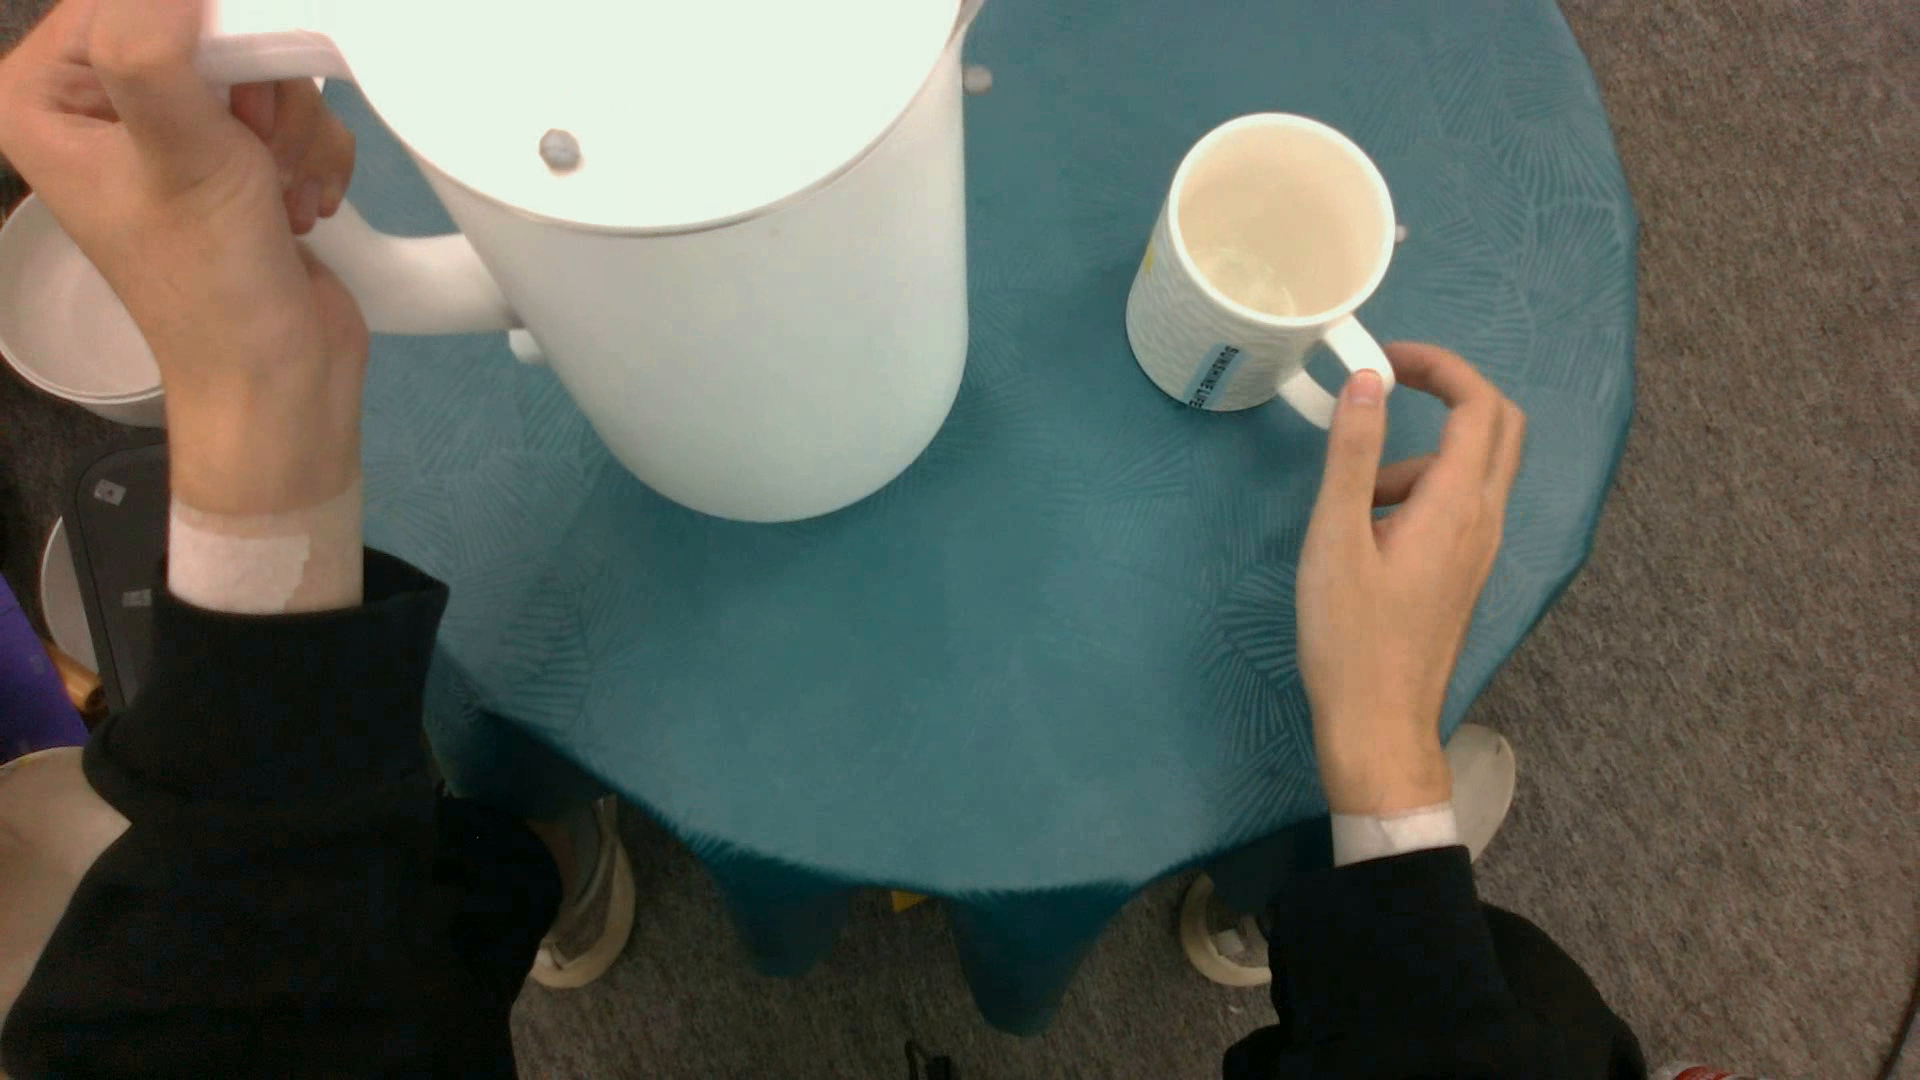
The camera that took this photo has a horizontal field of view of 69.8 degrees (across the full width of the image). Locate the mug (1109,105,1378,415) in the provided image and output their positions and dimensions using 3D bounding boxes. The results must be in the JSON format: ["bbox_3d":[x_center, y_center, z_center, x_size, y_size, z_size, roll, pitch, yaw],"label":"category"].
[{"bbox_3d":[0.120,-0.101,0.564,0.085,0.101,0.118,-36,81,-13],"label":"mug"}]

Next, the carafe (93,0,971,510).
[{"bbox_3d":[-0.101,-0.110,0.418,0.213,0.239,0.152,-6,76,-4],"label":"carafe"}]
